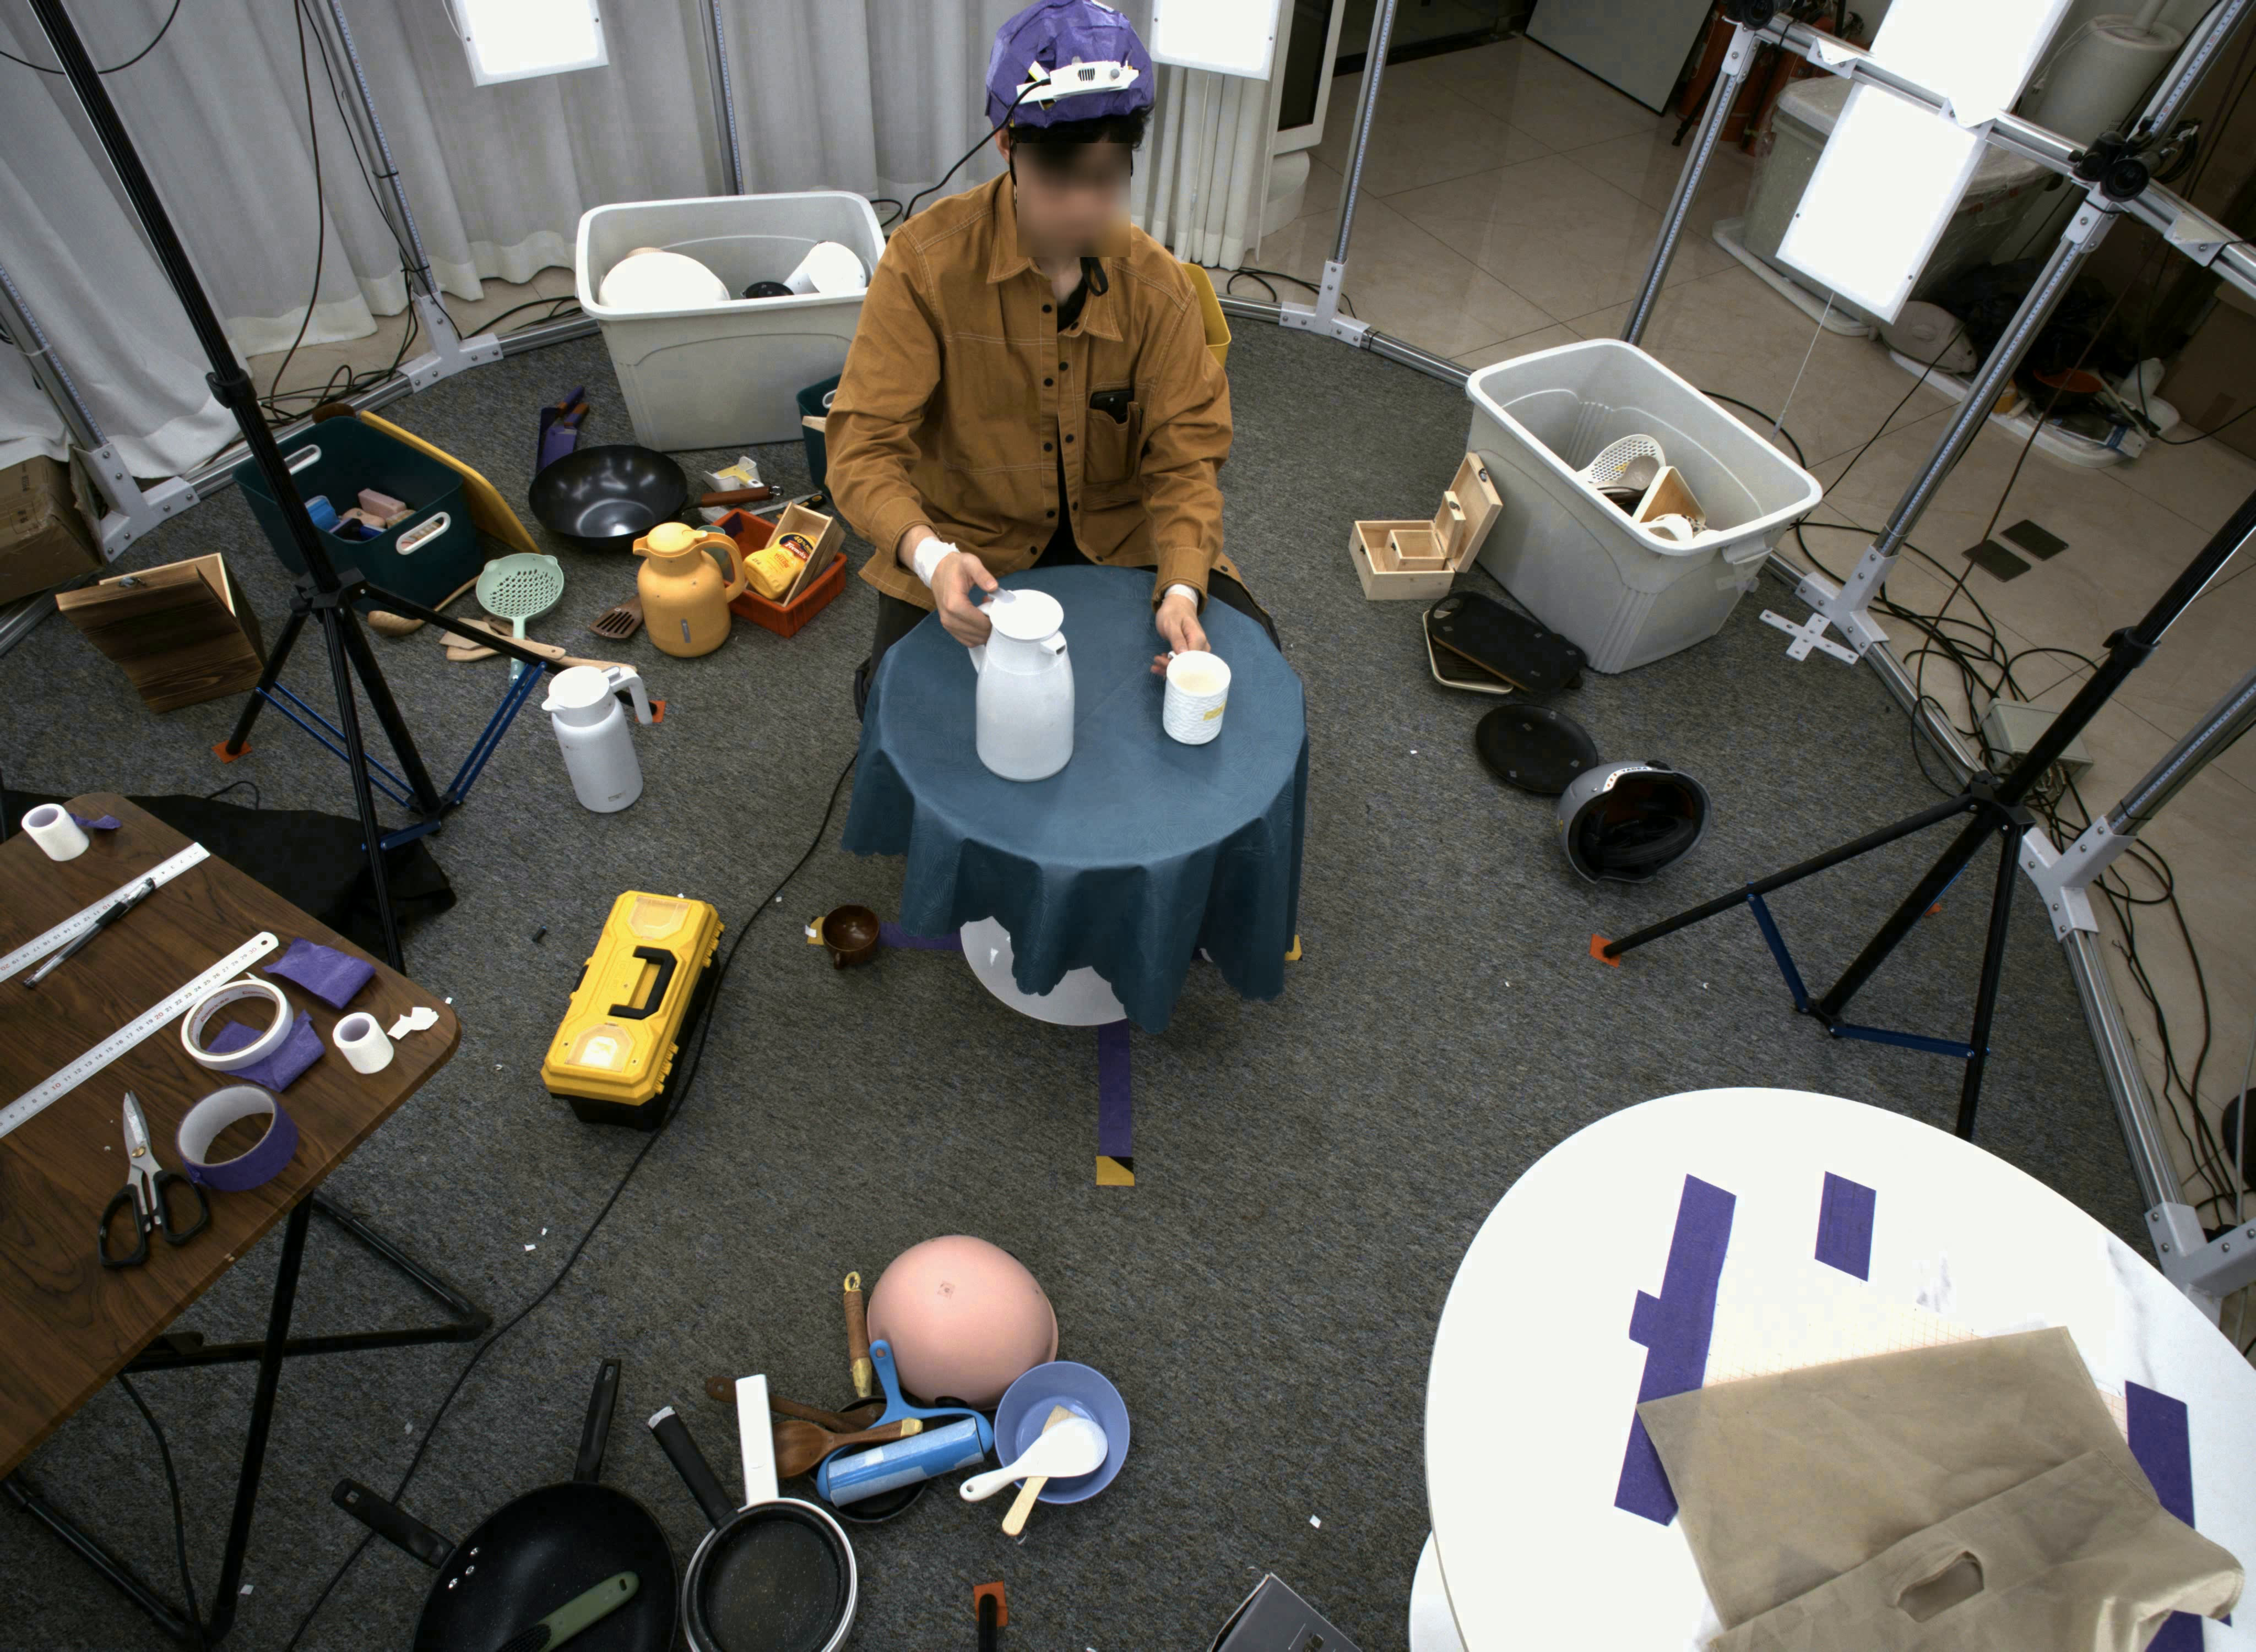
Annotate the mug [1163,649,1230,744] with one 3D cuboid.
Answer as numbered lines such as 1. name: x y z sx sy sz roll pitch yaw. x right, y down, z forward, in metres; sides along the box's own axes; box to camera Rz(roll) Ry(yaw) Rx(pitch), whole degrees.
1. mug: 0.085 -0.187 1.767 0.085 0.099 0.121 -19 55 -18

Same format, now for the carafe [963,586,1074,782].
1. carafe: -0.149 -0.196 1.670 0.170 0.242 0.134 36 57 25
